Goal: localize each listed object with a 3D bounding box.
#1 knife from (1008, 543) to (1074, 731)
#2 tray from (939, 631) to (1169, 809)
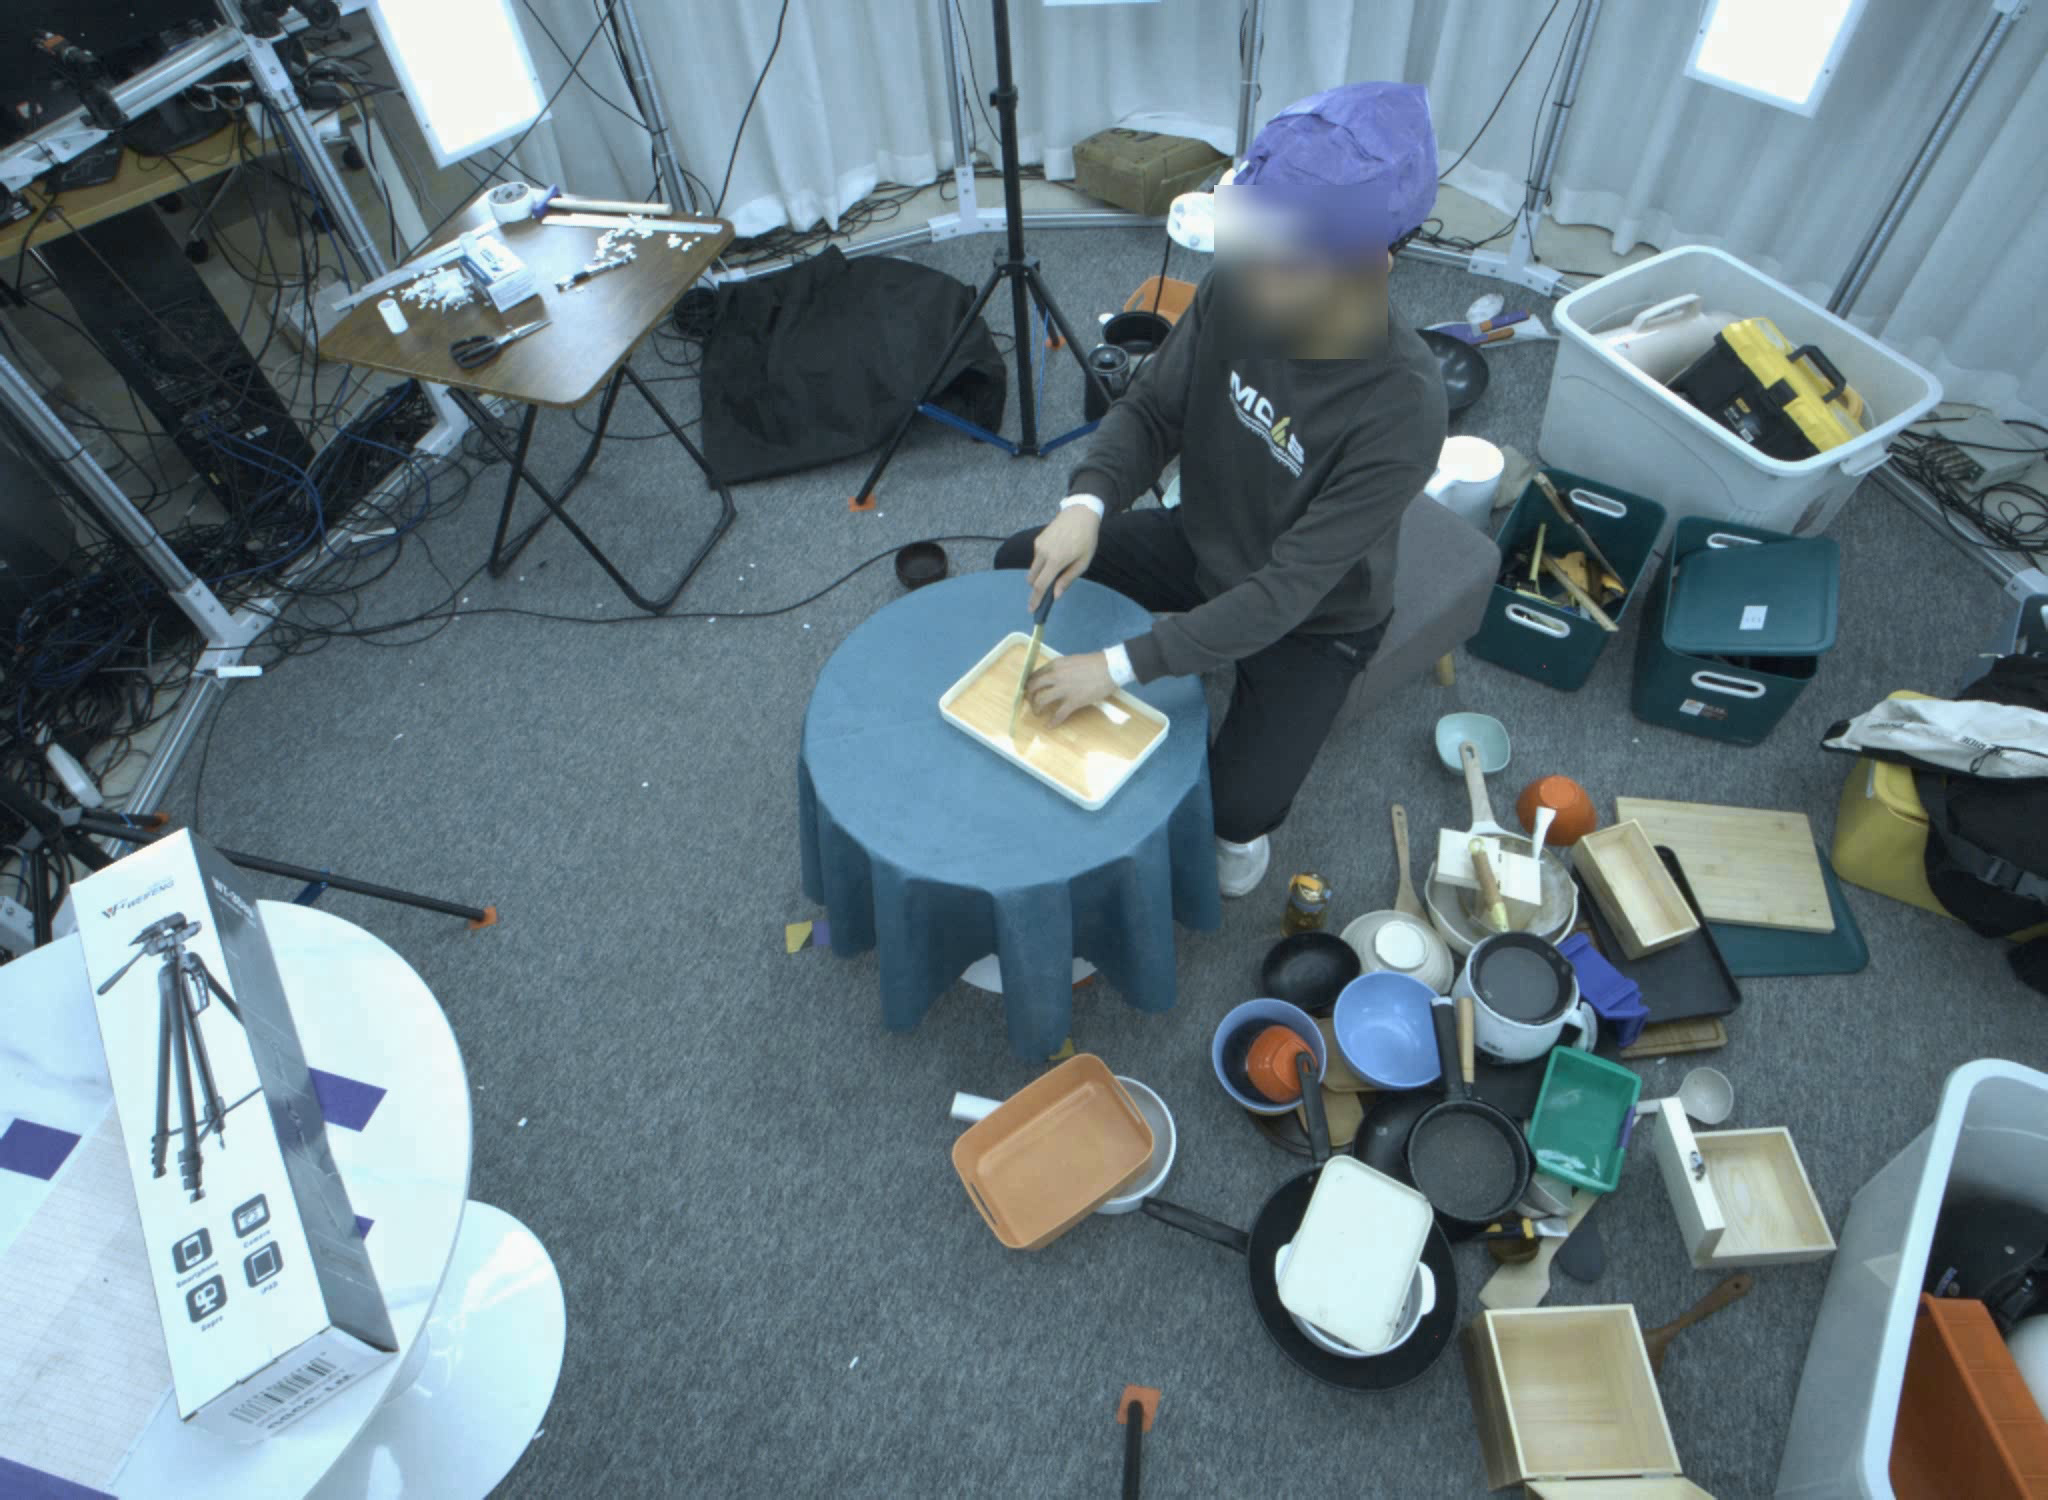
[{"bbox_3d":[0.021,-0.165,1.800,0.027,0.081,0.289,17,84,8],"label":"knife"},{"bbox_3d":[0.043,-0.050,1.813,0.295,0.027,0.193,33,60,22],"label":"tray"}]
